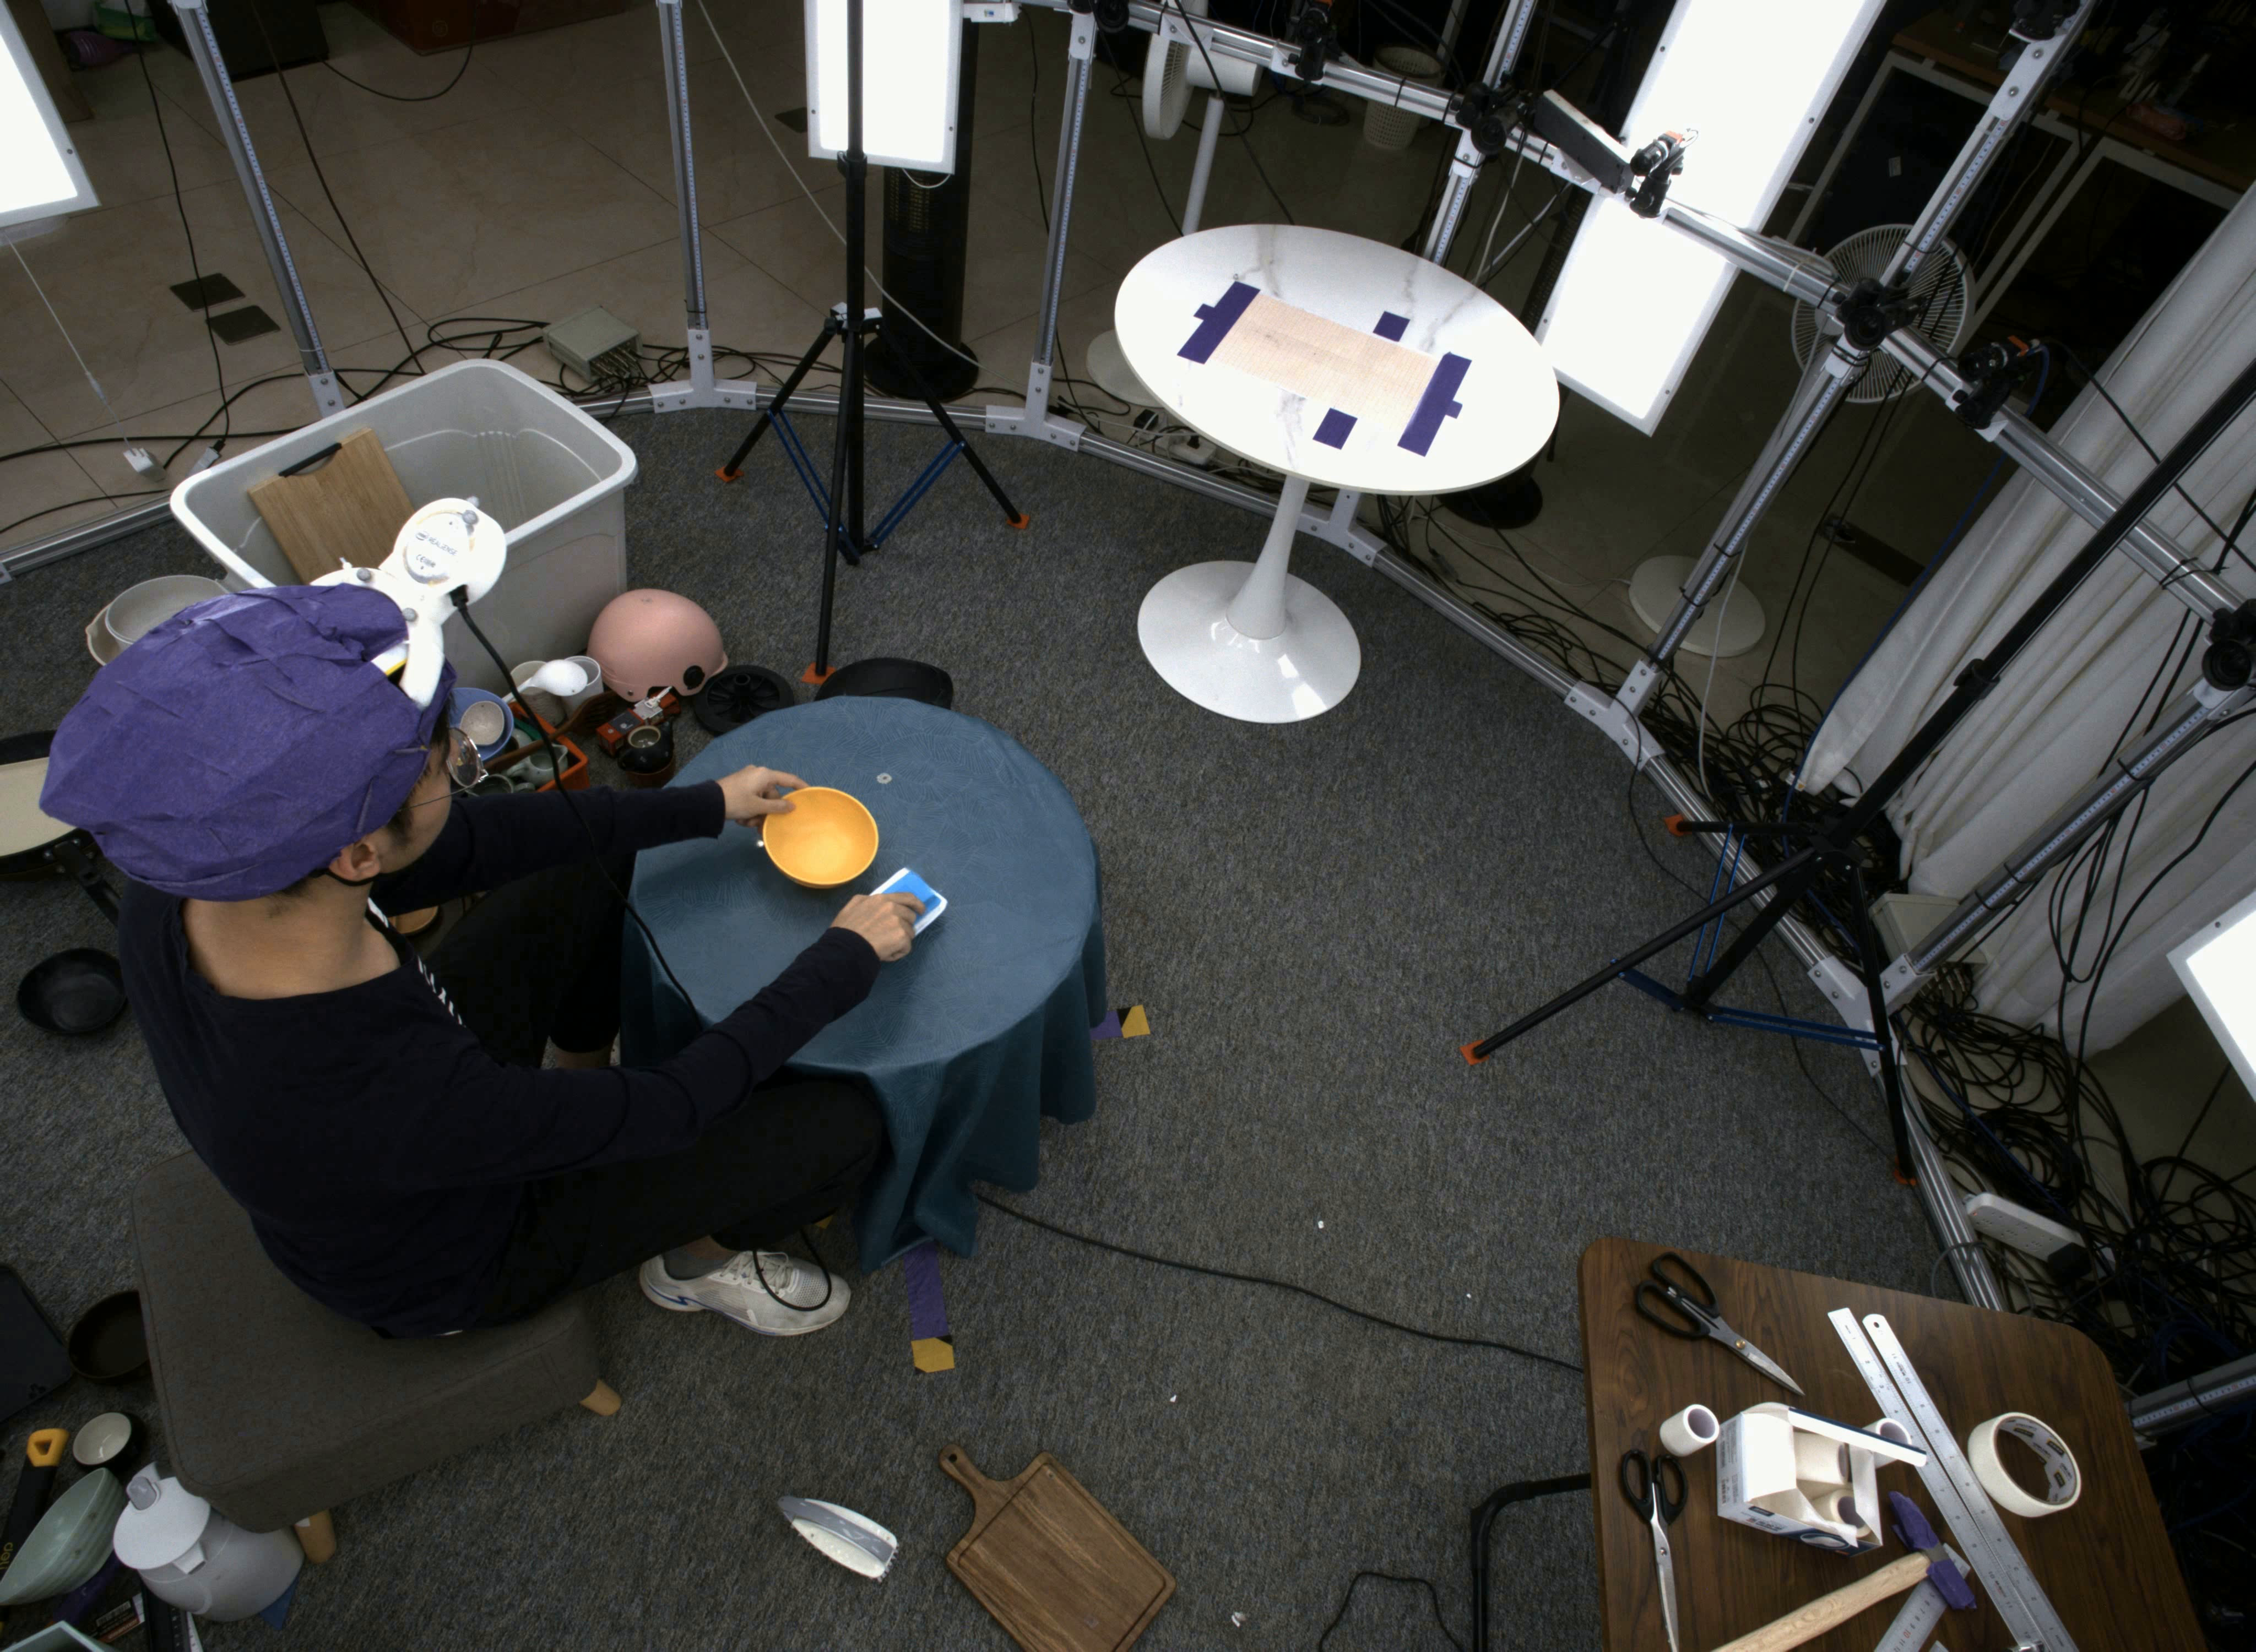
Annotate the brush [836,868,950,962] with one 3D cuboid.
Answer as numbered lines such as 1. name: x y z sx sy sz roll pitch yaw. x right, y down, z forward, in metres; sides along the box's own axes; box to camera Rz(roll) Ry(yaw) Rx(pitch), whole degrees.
1. brush: -0.286 0.100 1.599 0.082 0.057 0.144 37 42 12

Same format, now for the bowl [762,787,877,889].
1. bowl: -0.400 0.025 1.669 0.146 0.060 0.143 13 56 -17
